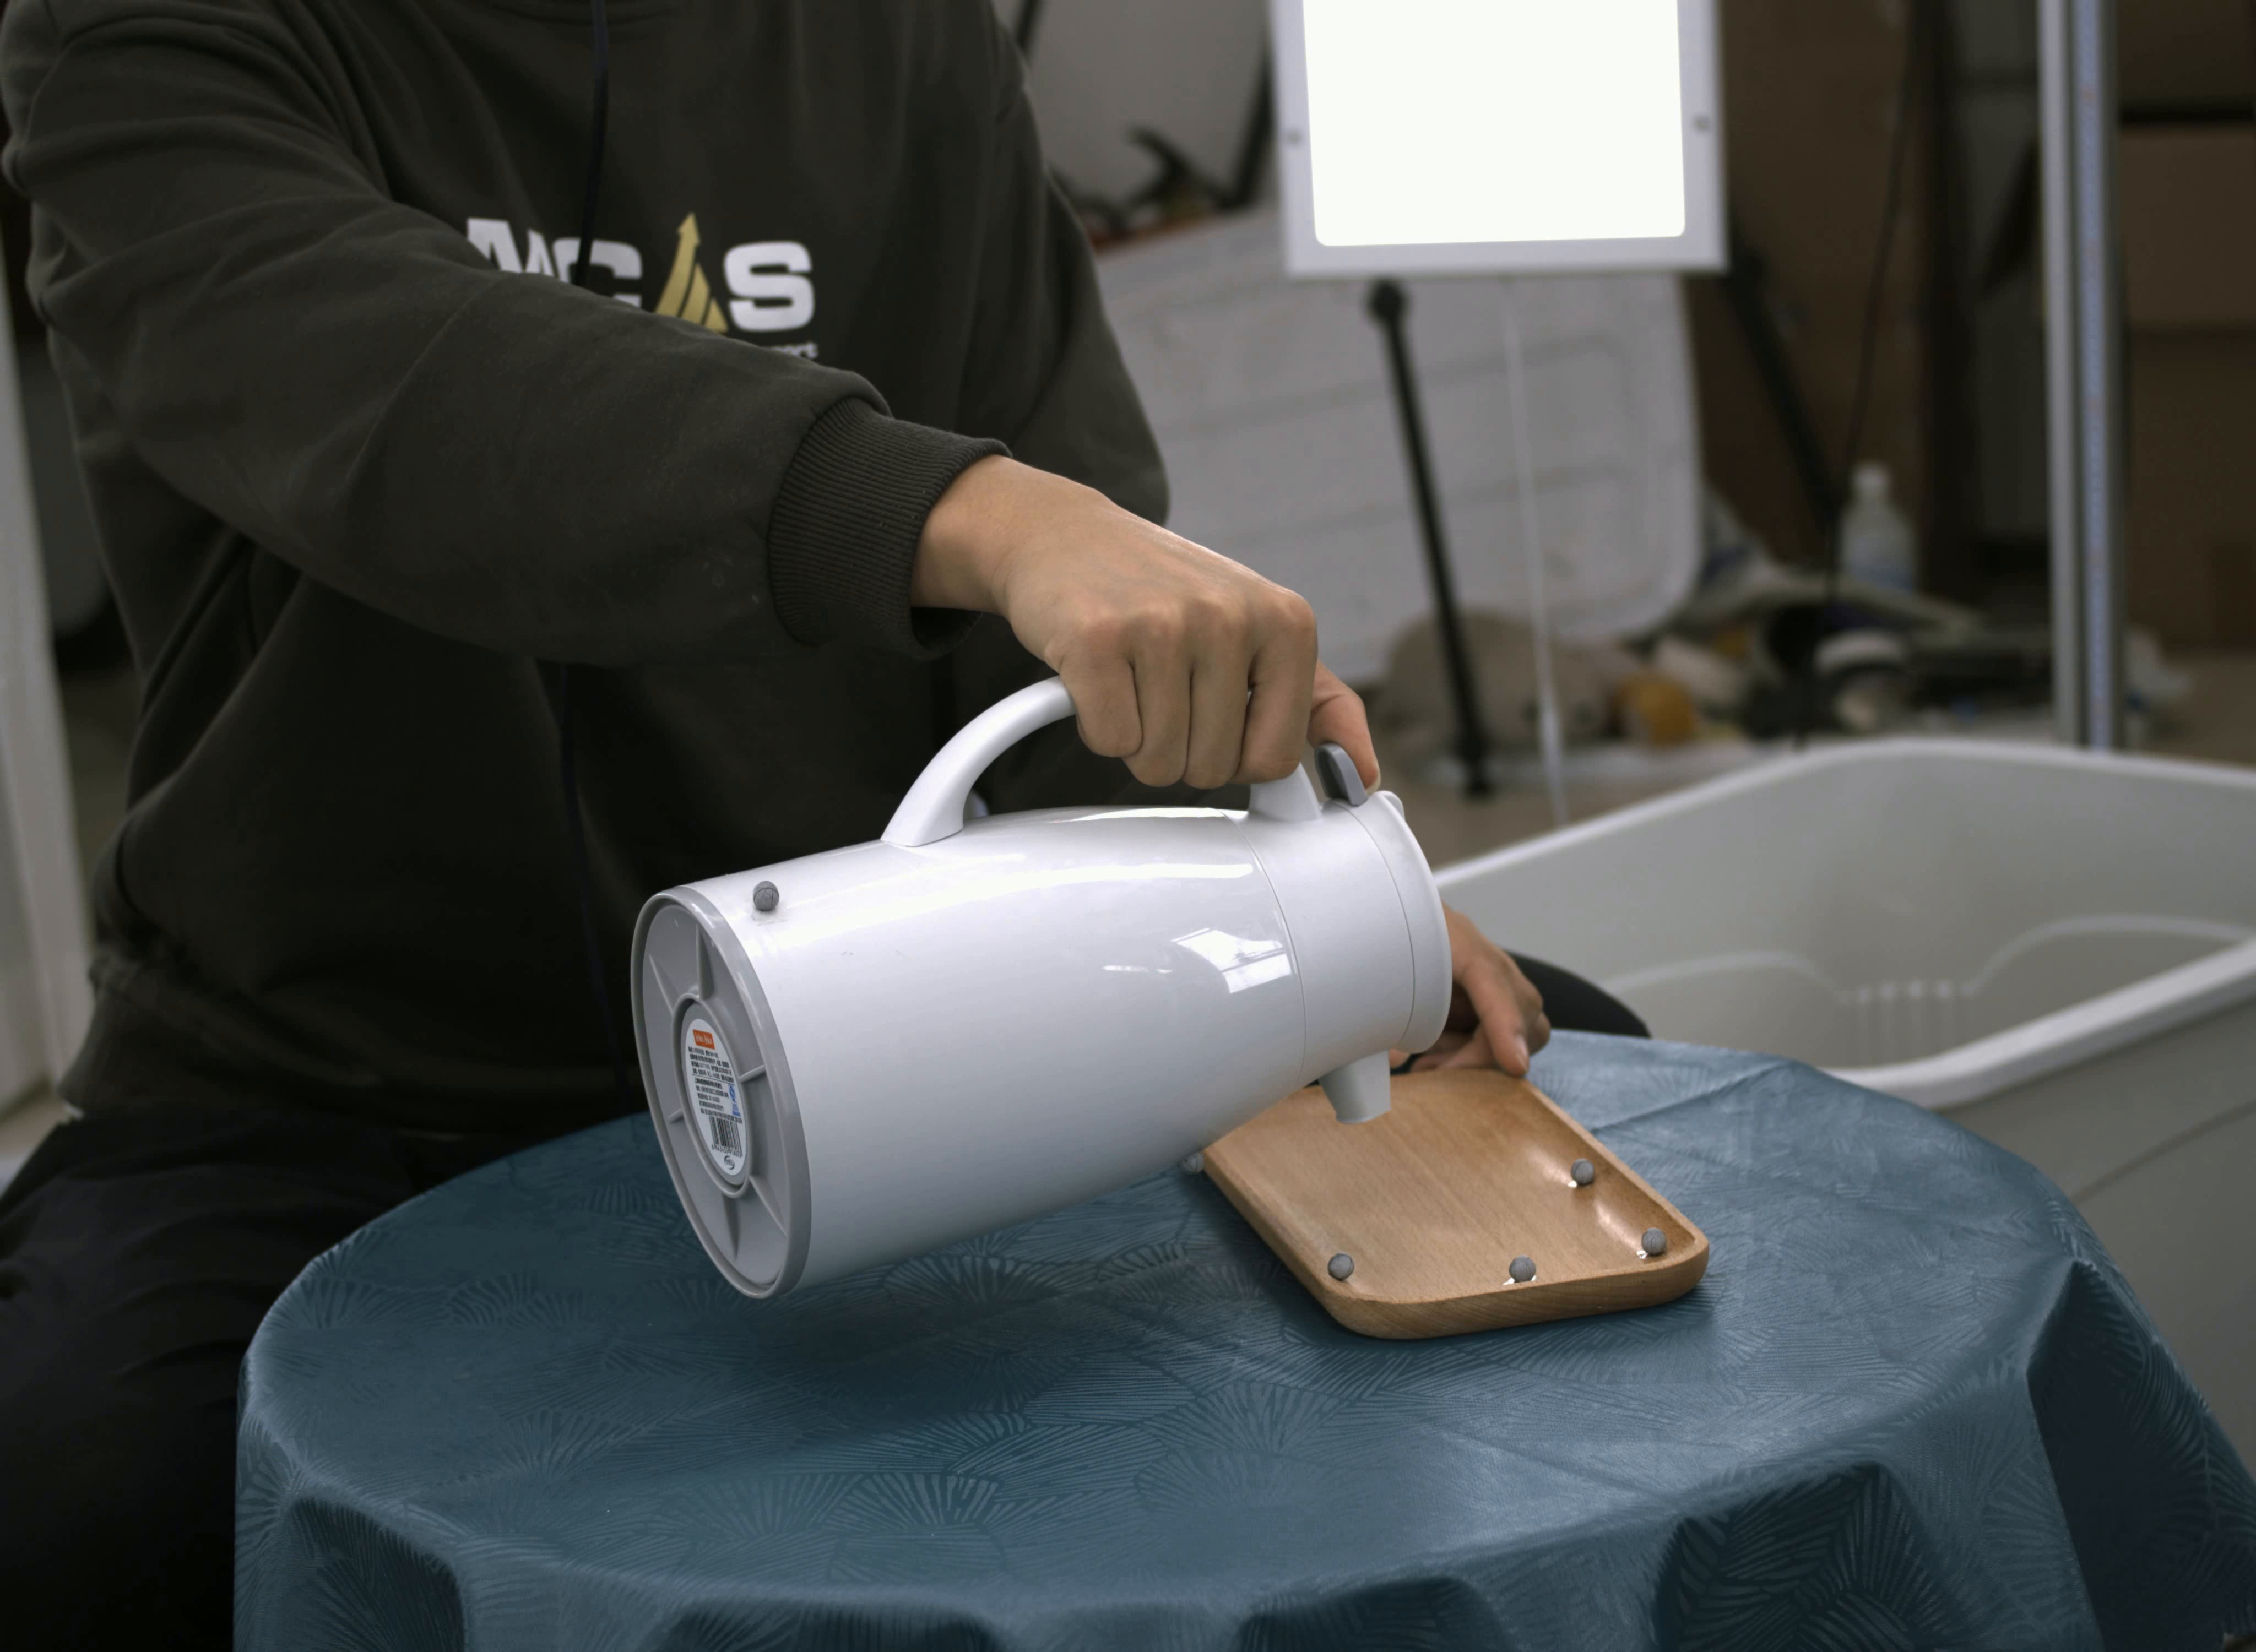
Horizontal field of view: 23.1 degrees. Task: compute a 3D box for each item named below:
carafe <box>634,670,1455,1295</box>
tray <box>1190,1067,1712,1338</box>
[{"bbox_3d":[-0.022,0.040,1.752,0.244,0.168,0.134,-13,13,-19],"label":"carafe"},{"bbox_3d":[0.104,0.123,1.841,0.129,0.023,0.252,-5,12,-10],"label":"tray"}]
